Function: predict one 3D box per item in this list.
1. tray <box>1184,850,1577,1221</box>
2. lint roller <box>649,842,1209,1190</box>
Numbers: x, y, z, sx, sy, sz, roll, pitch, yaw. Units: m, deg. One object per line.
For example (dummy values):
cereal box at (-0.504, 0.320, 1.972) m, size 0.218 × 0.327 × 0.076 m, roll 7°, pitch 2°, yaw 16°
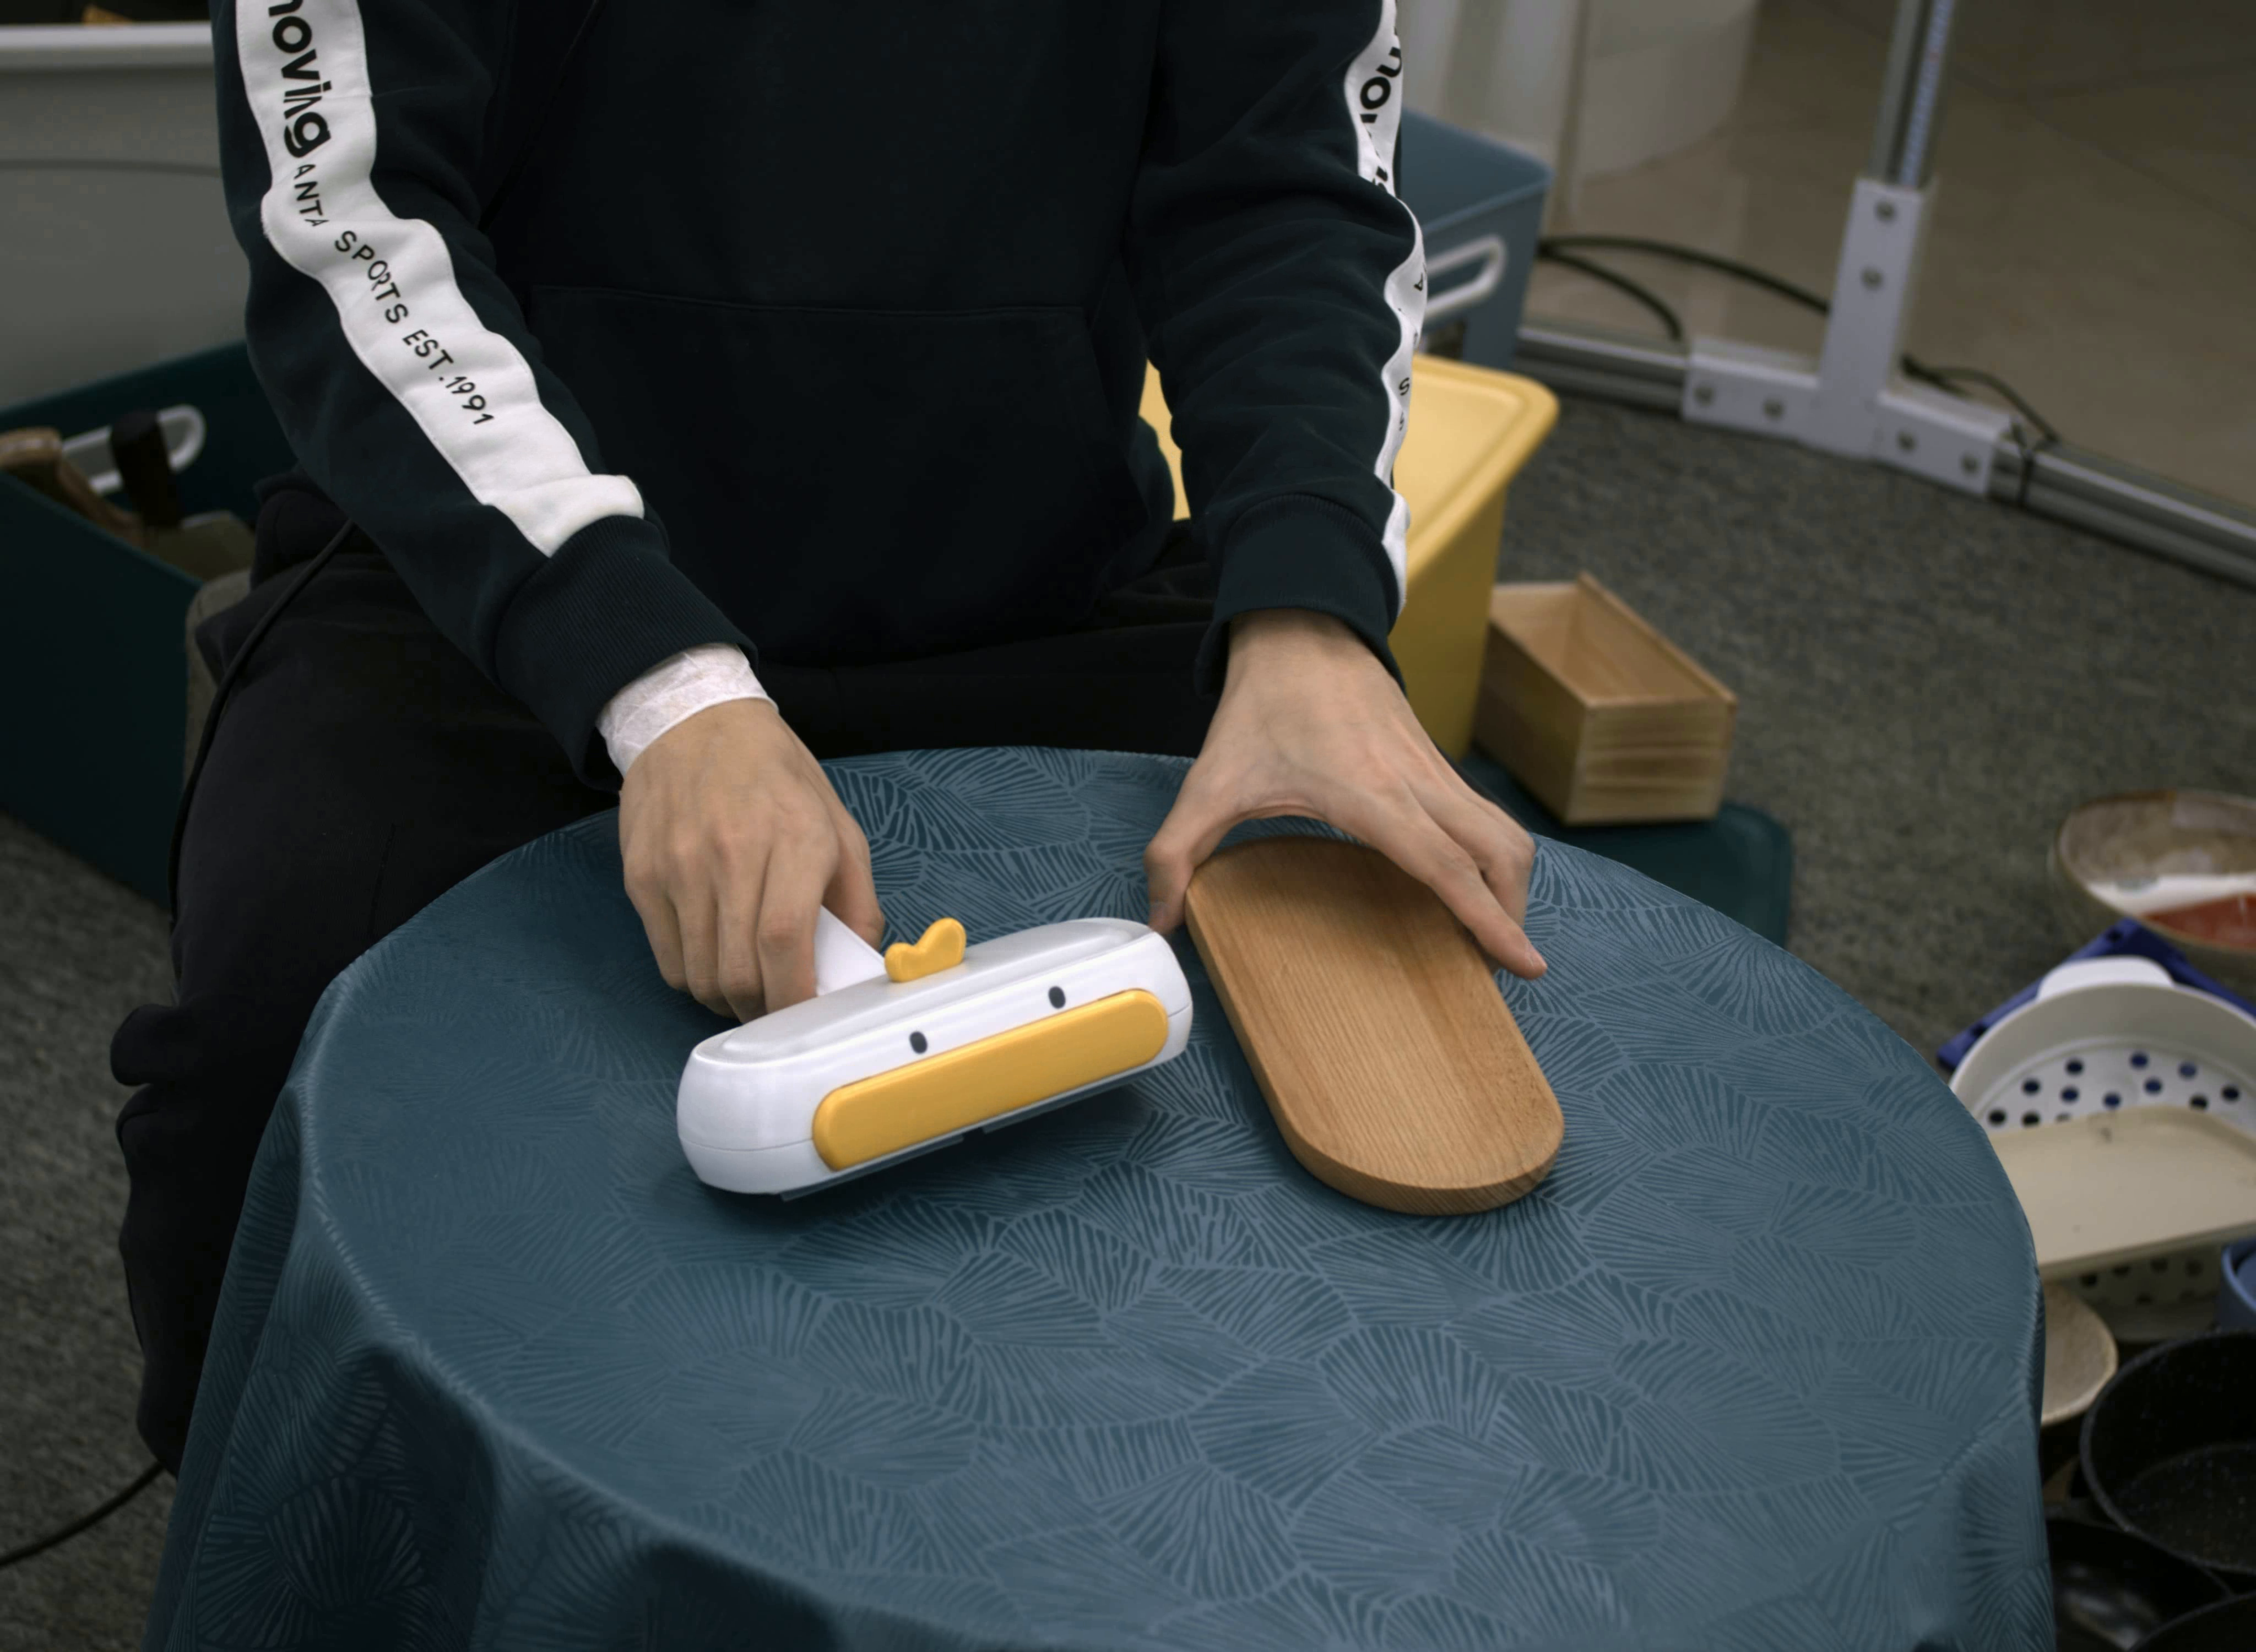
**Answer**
tray at (0.087, 0.072, 1.892) m, size 0.101 × 0.020 × 0.233 m, roll -2°, pitch 32°, yaw -16°
lint roller at (-0.097, 0.055, 1.846) m, size 0.192 × 0.074 × 0.194 m, roll -24°, pitch 27°, yaw -34°
